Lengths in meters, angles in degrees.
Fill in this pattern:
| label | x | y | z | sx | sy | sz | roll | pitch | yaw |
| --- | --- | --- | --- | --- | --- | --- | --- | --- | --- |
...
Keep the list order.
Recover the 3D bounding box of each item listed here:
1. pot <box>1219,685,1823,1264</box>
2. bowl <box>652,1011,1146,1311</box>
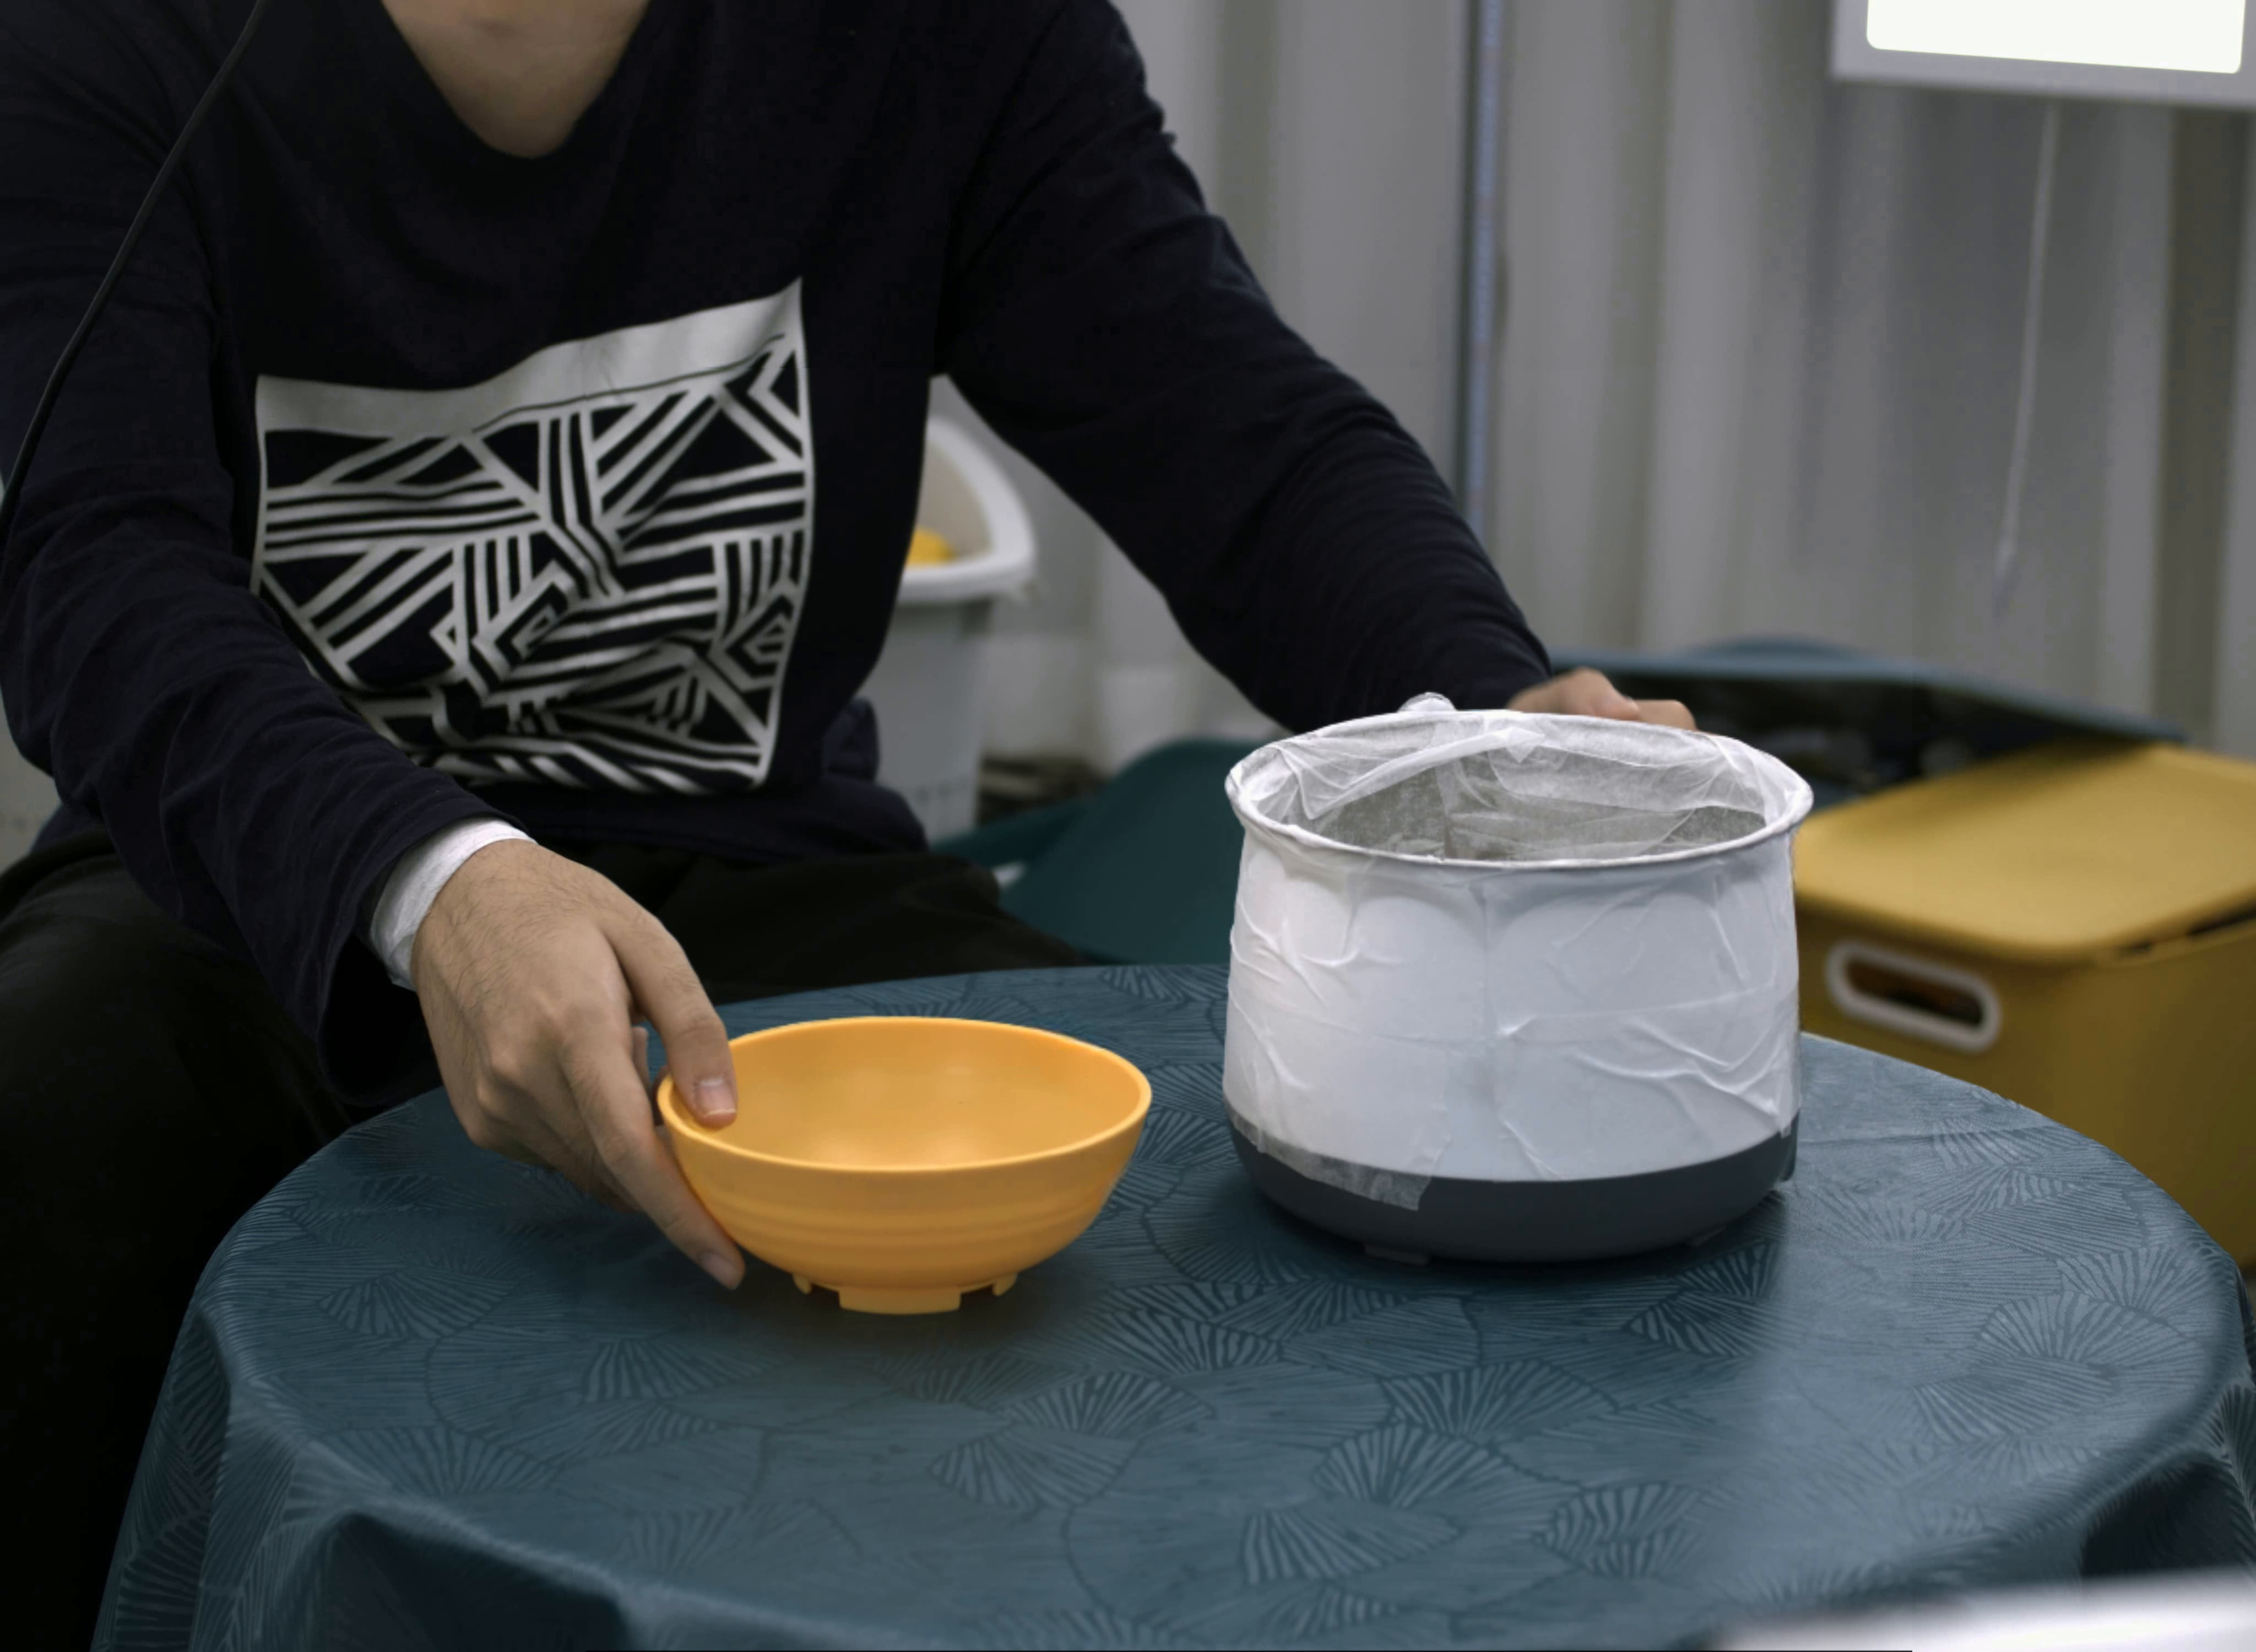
| label | x | y | z | sx | sy | sz | roll | pitch | yaw |
| --- | --- | --- | --- | --- | --- | --- | --- | --- | --- |
| pot | 0.111 | 0.041 | 1.628 | 0.179 | 0.137 | 0.231 | -1 | 16 | -15 |
| bowl | -0.067 | 0.103 | 1.541 | 0.145 | 0.060 | 0.144 | 2 | 15 | 0 |
